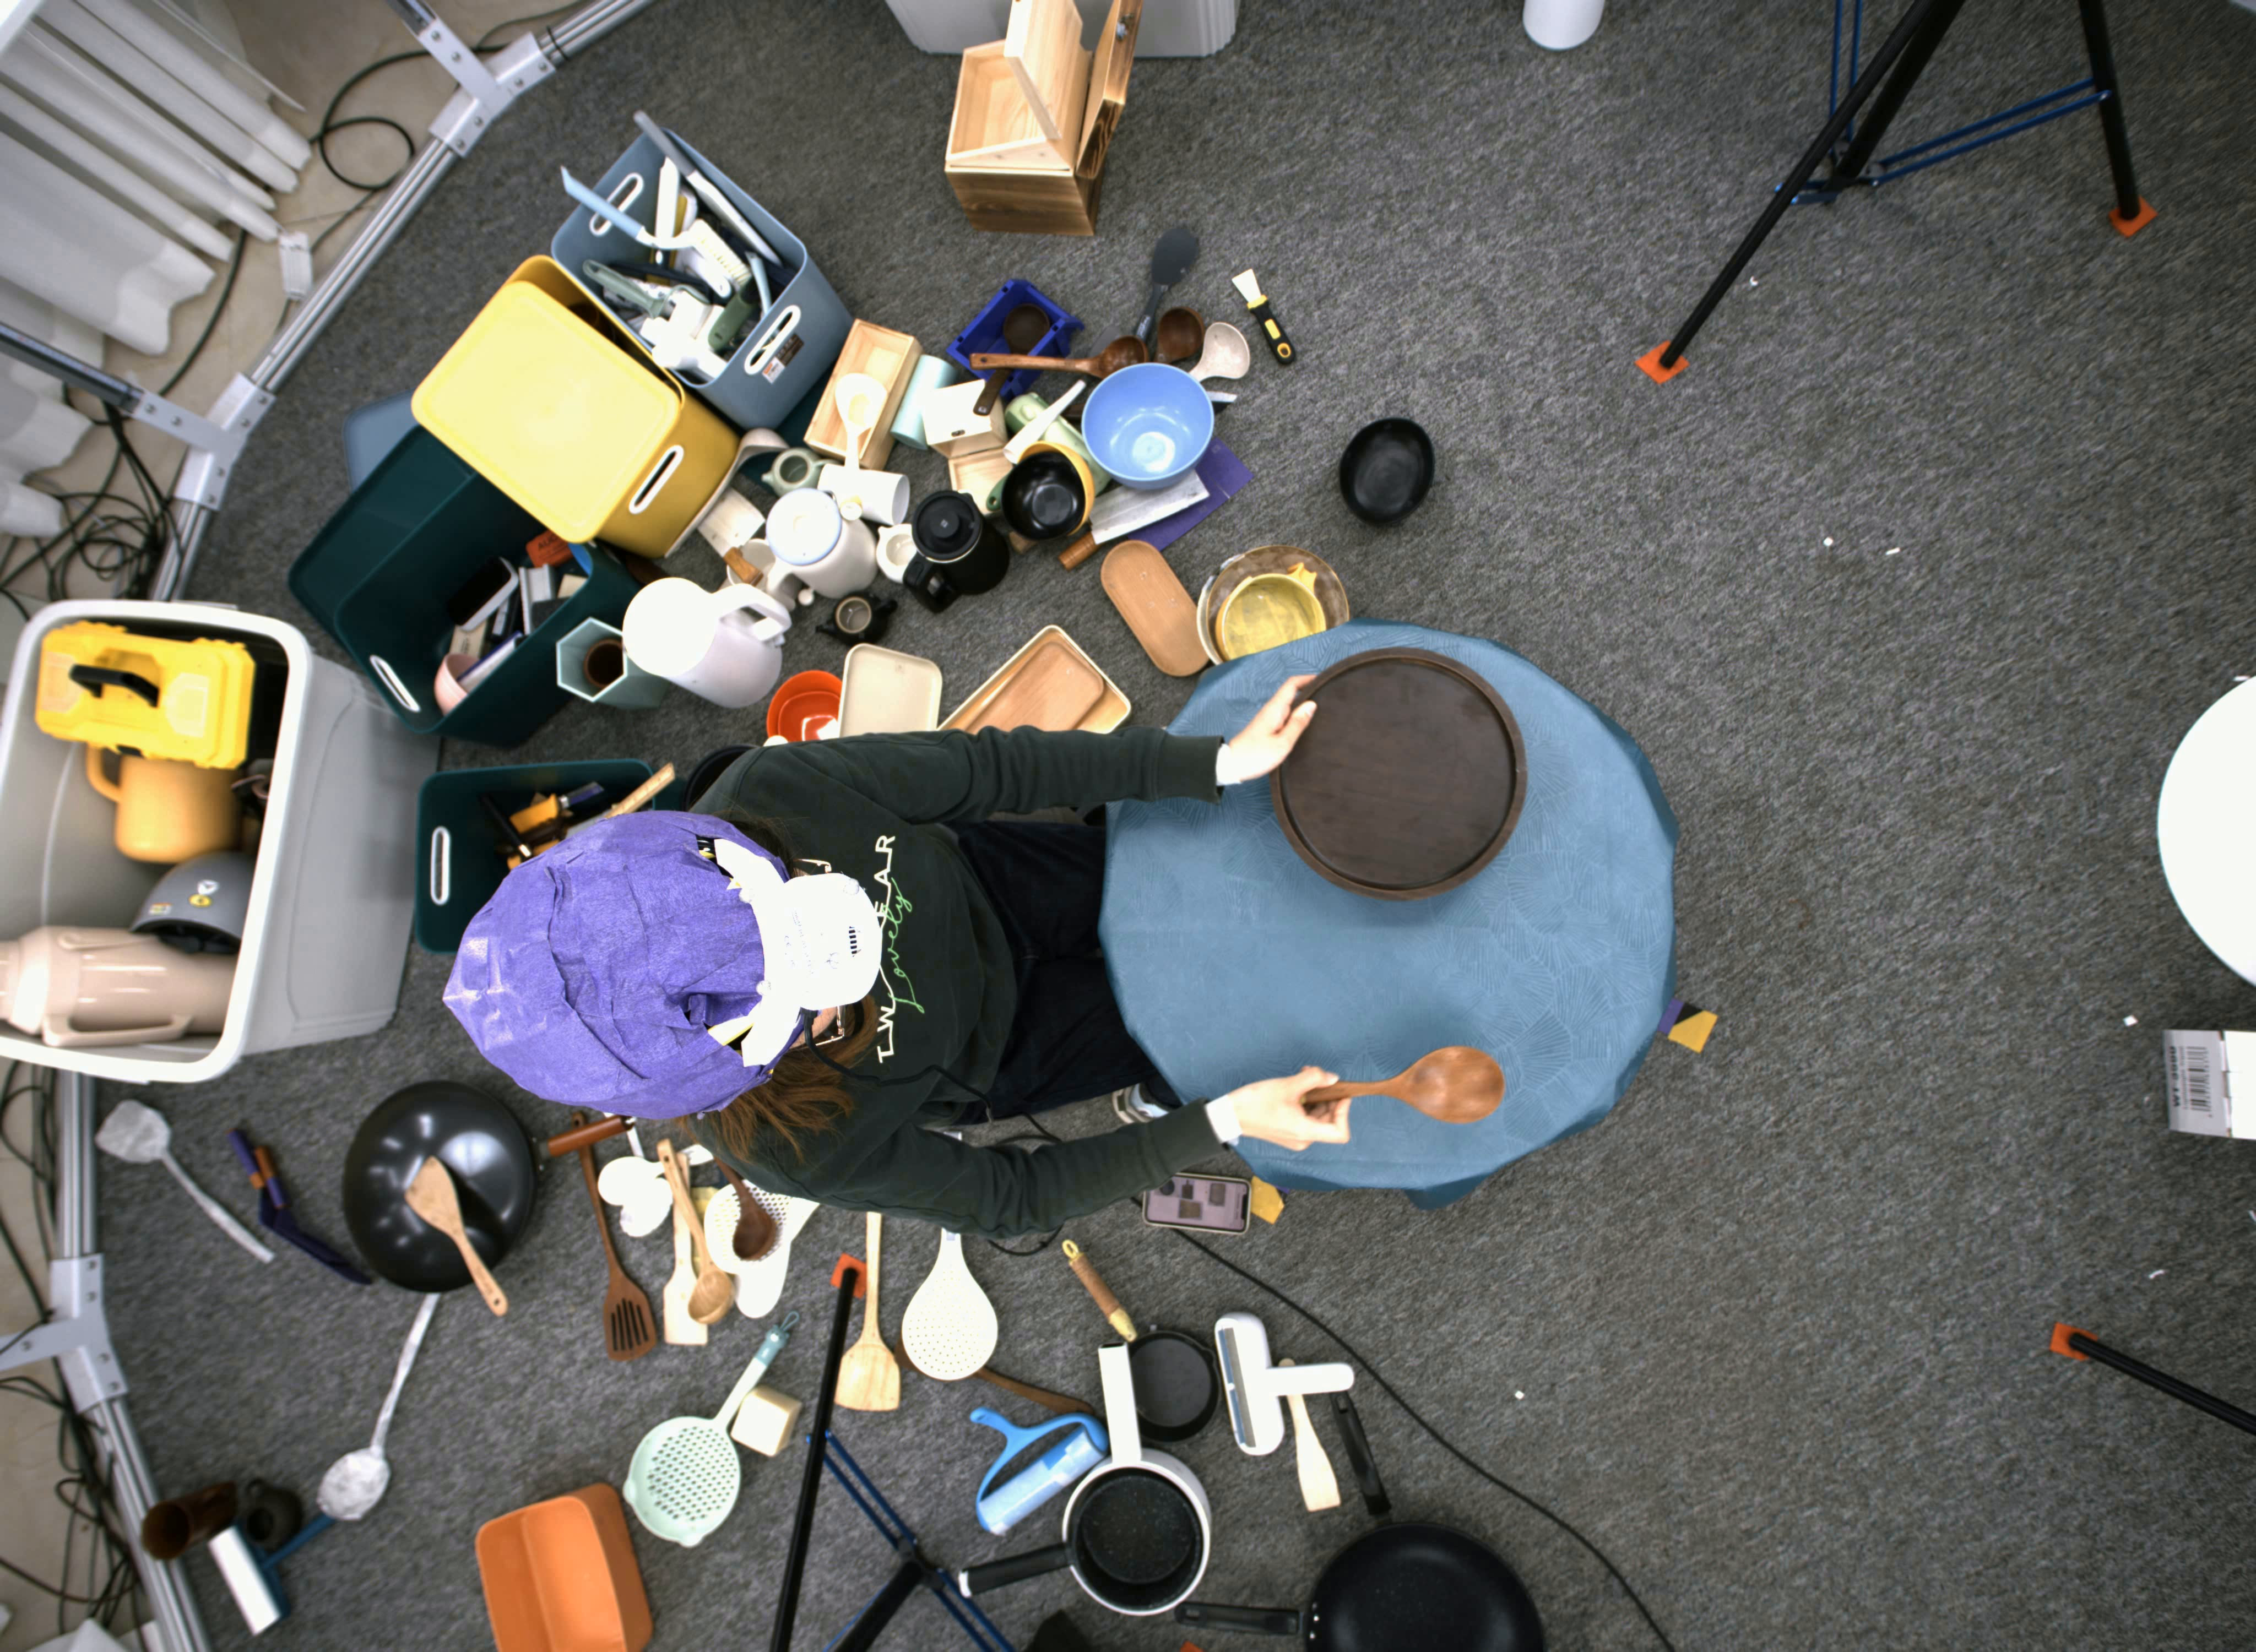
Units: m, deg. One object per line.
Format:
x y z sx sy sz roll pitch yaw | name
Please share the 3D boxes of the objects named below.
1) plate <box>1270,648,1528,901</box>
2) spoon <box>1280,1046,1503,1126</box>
0.268 -0.053 1.371 0.256 0.029 0.254 0 89 10 | plate
0.254 0.255 1.342 0.217 0.017 0.075 -7 85 16 | spoon
